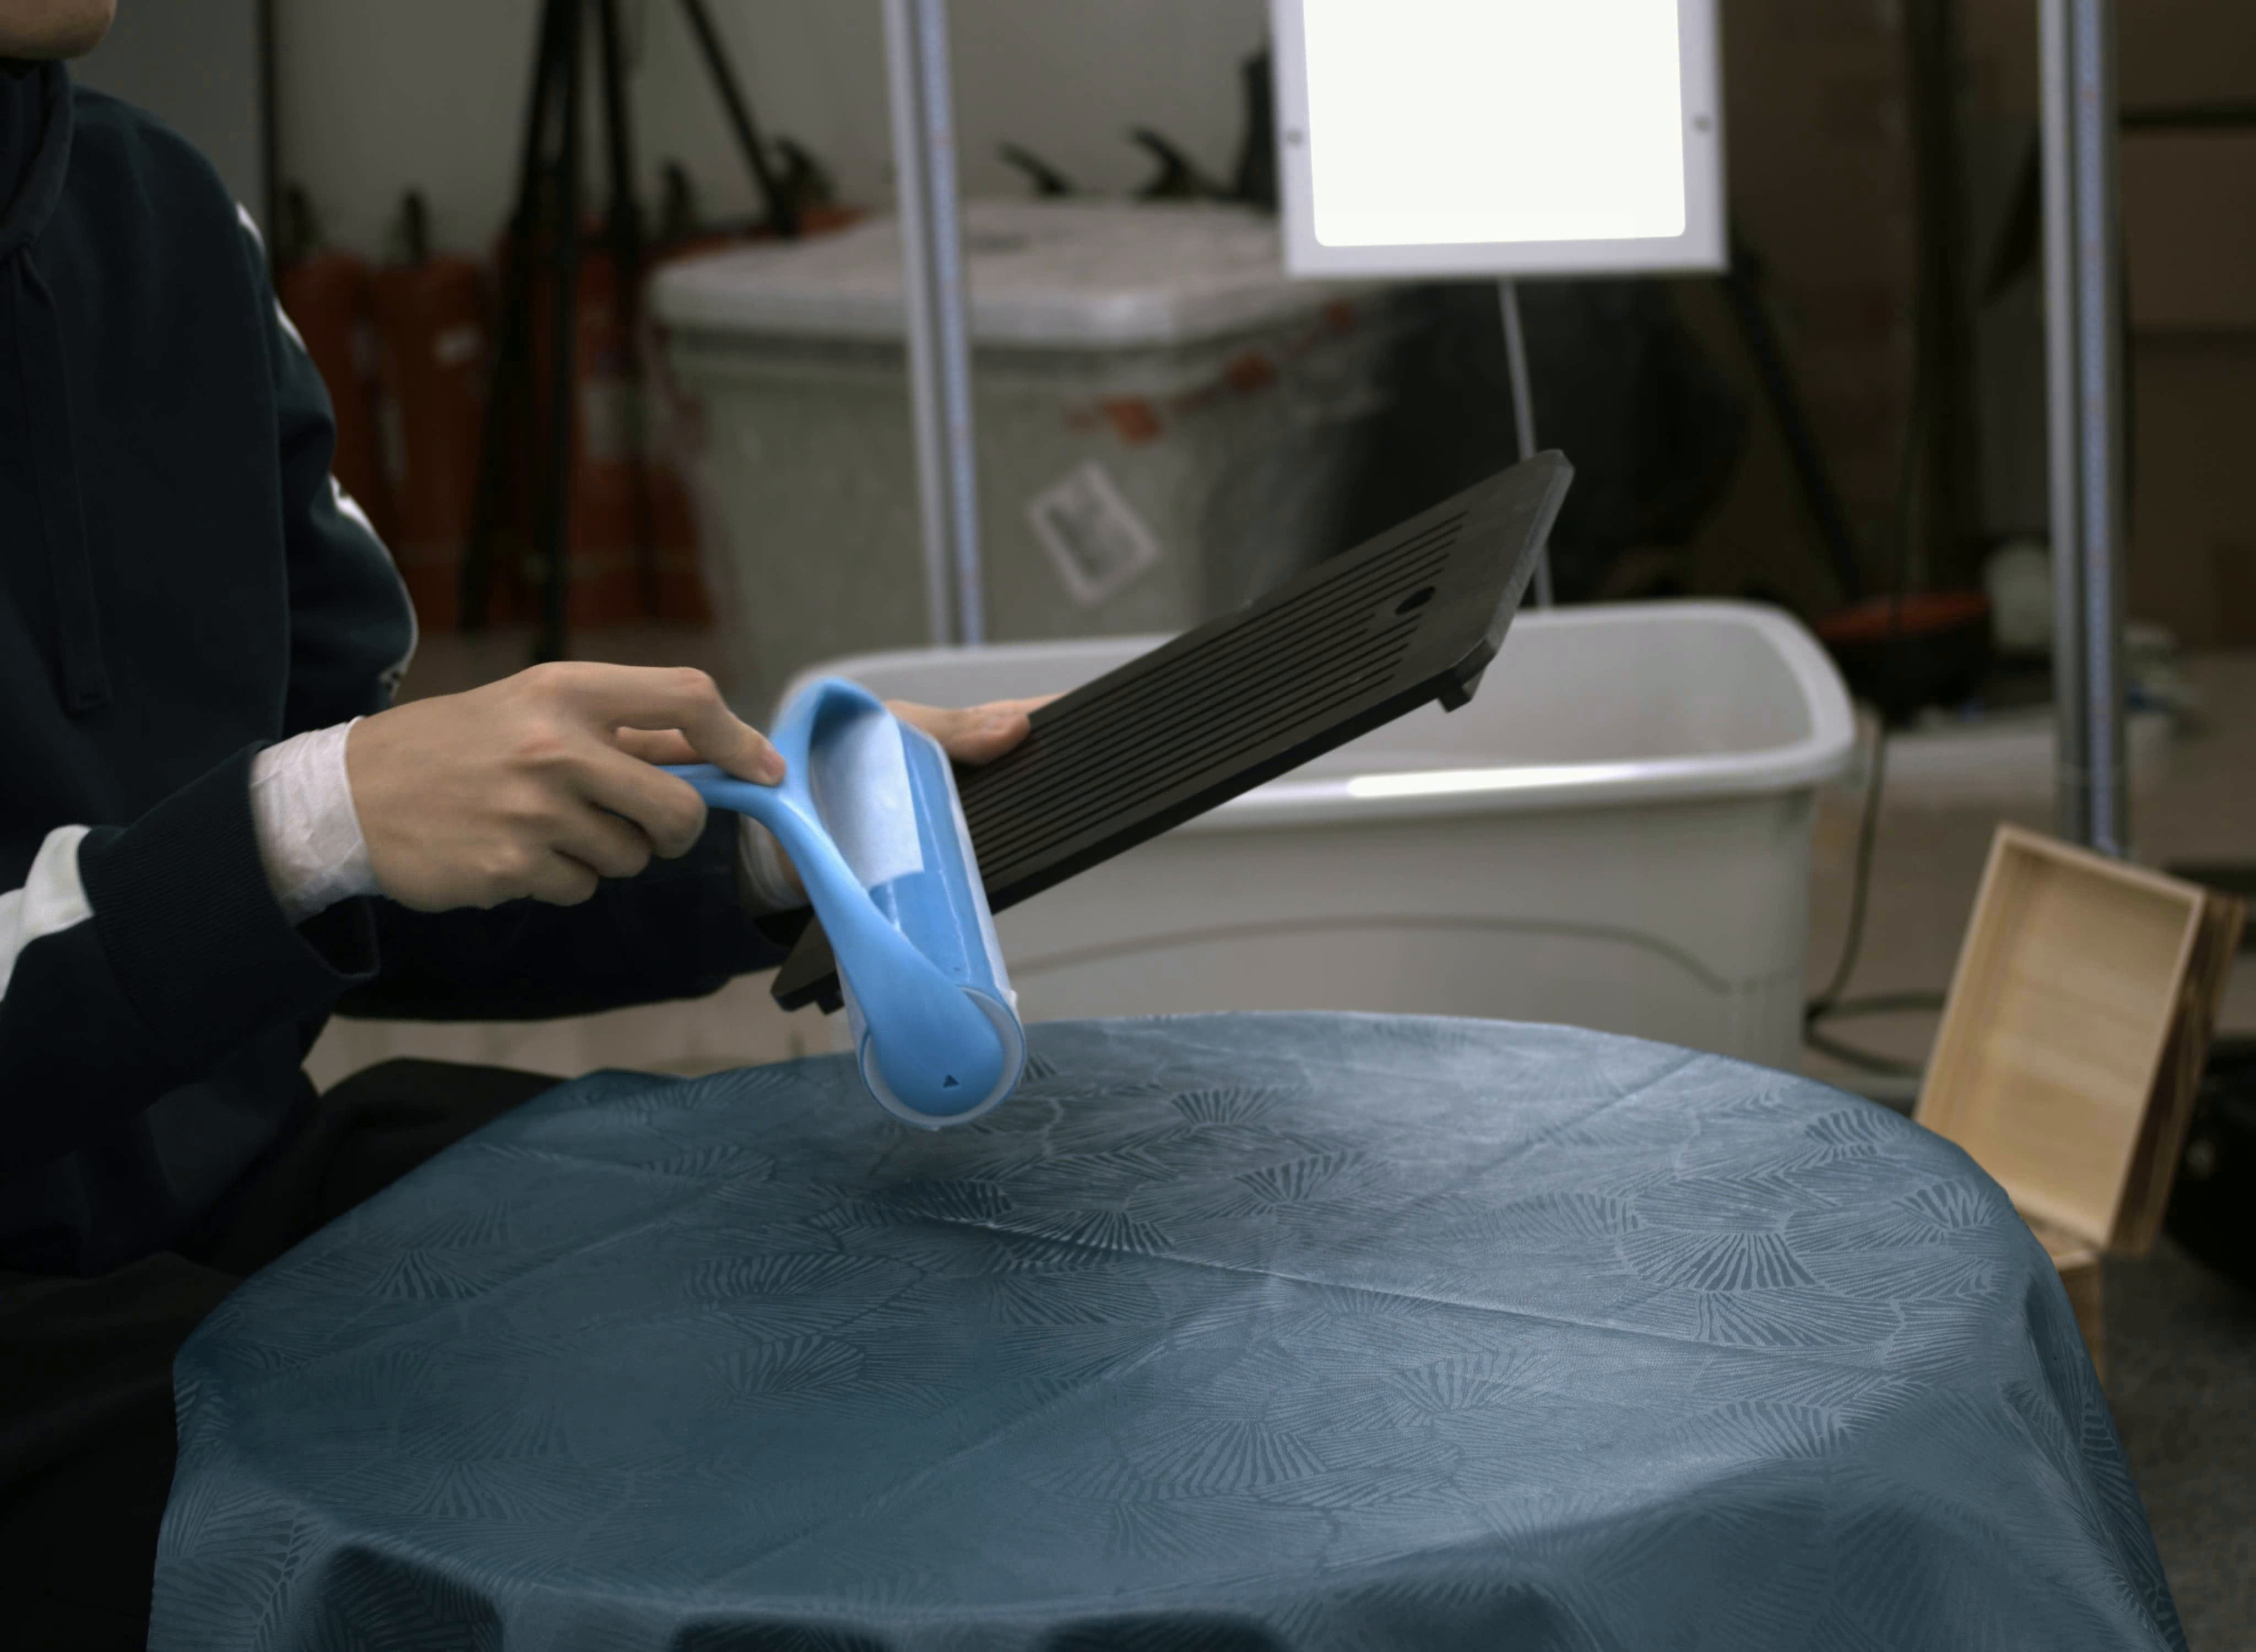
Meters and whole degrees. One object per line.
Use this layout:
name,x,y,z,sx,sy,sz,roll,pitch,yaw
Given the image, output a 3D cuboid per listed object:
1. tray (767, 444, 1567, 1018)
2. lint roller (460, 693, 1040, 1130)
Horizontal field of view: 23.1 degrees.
tray,0.016,-0.030,1.924,0.311,0.018,0.168,-27,19,29
lint roller,-0.123,0.014,1.803,0.177,0.069,0.230,16,24,-19
